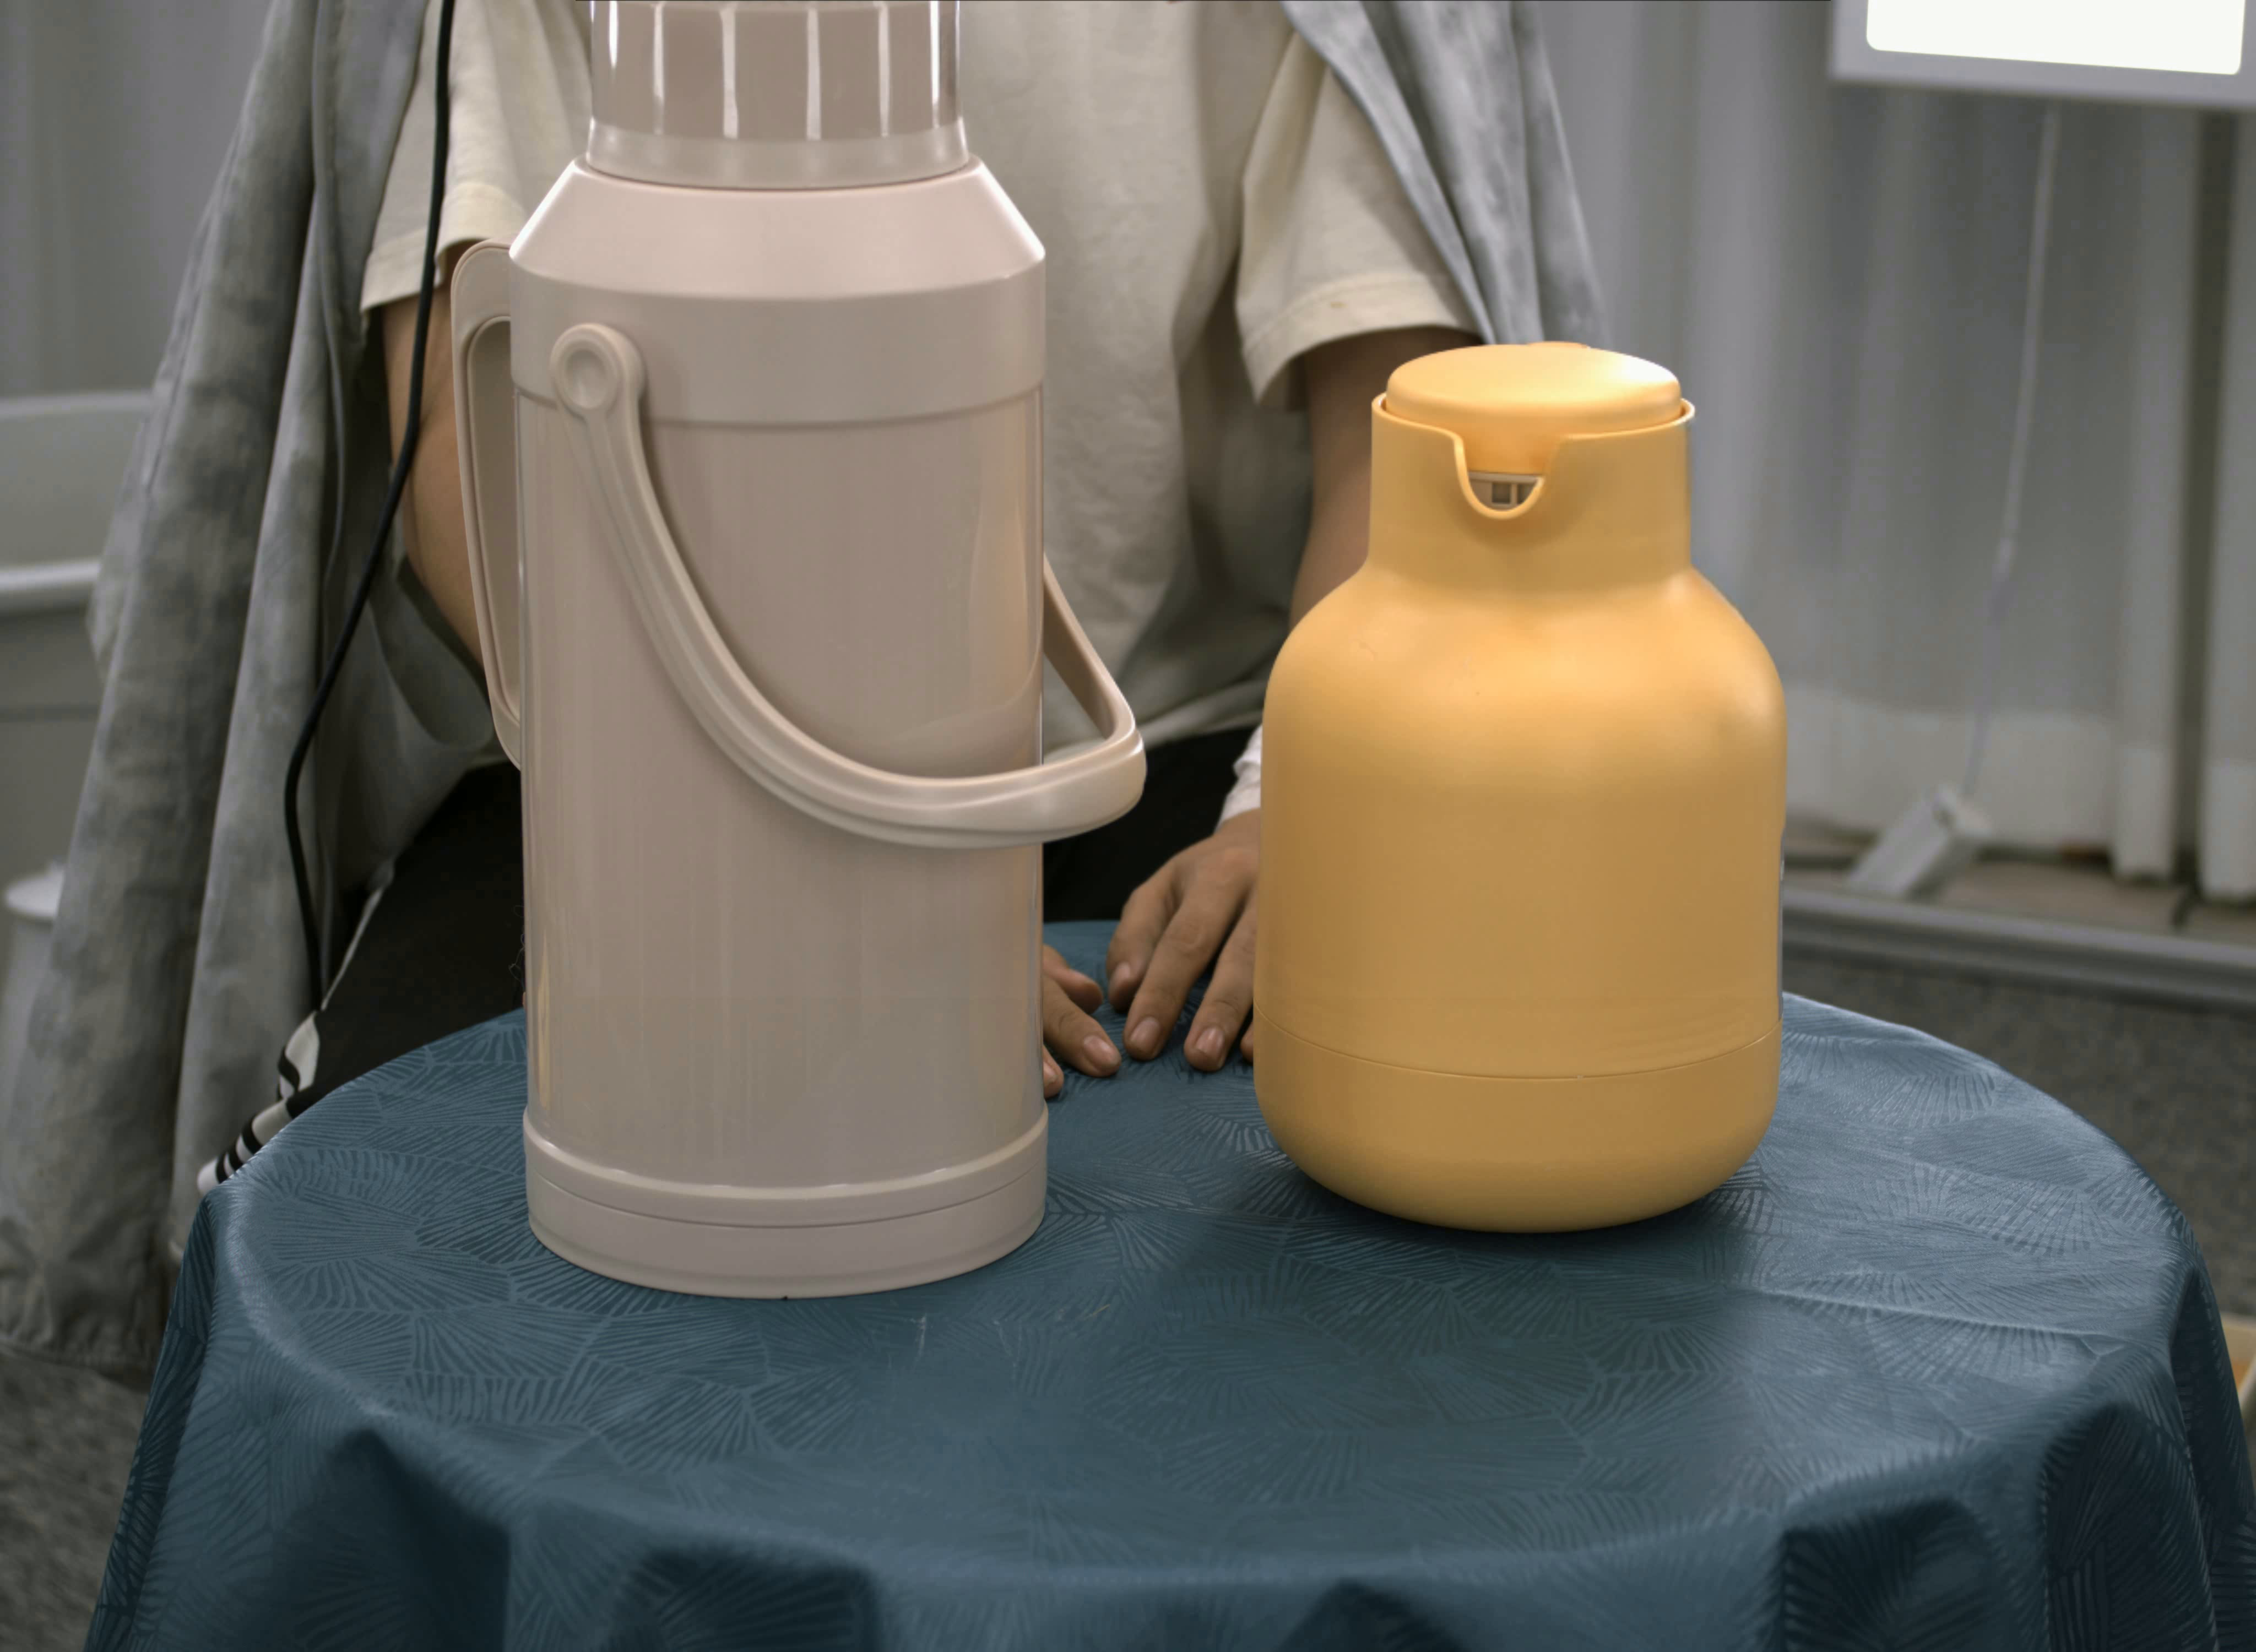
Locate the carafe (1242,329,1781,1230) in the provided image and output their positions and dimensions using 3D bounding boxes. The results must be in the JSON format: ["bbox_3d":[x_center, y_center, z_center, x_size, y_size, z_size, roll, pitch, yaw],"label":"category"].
[{"bbox_3d":[0.124,-0.022,1.625,0.162,0.262,0.202,6,18,12],"label":"carafe"}]

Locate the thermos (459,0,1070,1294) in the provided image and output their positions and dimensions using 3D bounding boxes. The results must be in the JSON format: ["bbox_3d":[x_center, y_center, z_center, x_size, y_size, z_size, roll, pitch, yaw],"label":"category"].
[{"bbox_3d":[-0.113,-0.077,1.559,0.204,0.410,0.176,12,21,33],"label":"thermos"}]
